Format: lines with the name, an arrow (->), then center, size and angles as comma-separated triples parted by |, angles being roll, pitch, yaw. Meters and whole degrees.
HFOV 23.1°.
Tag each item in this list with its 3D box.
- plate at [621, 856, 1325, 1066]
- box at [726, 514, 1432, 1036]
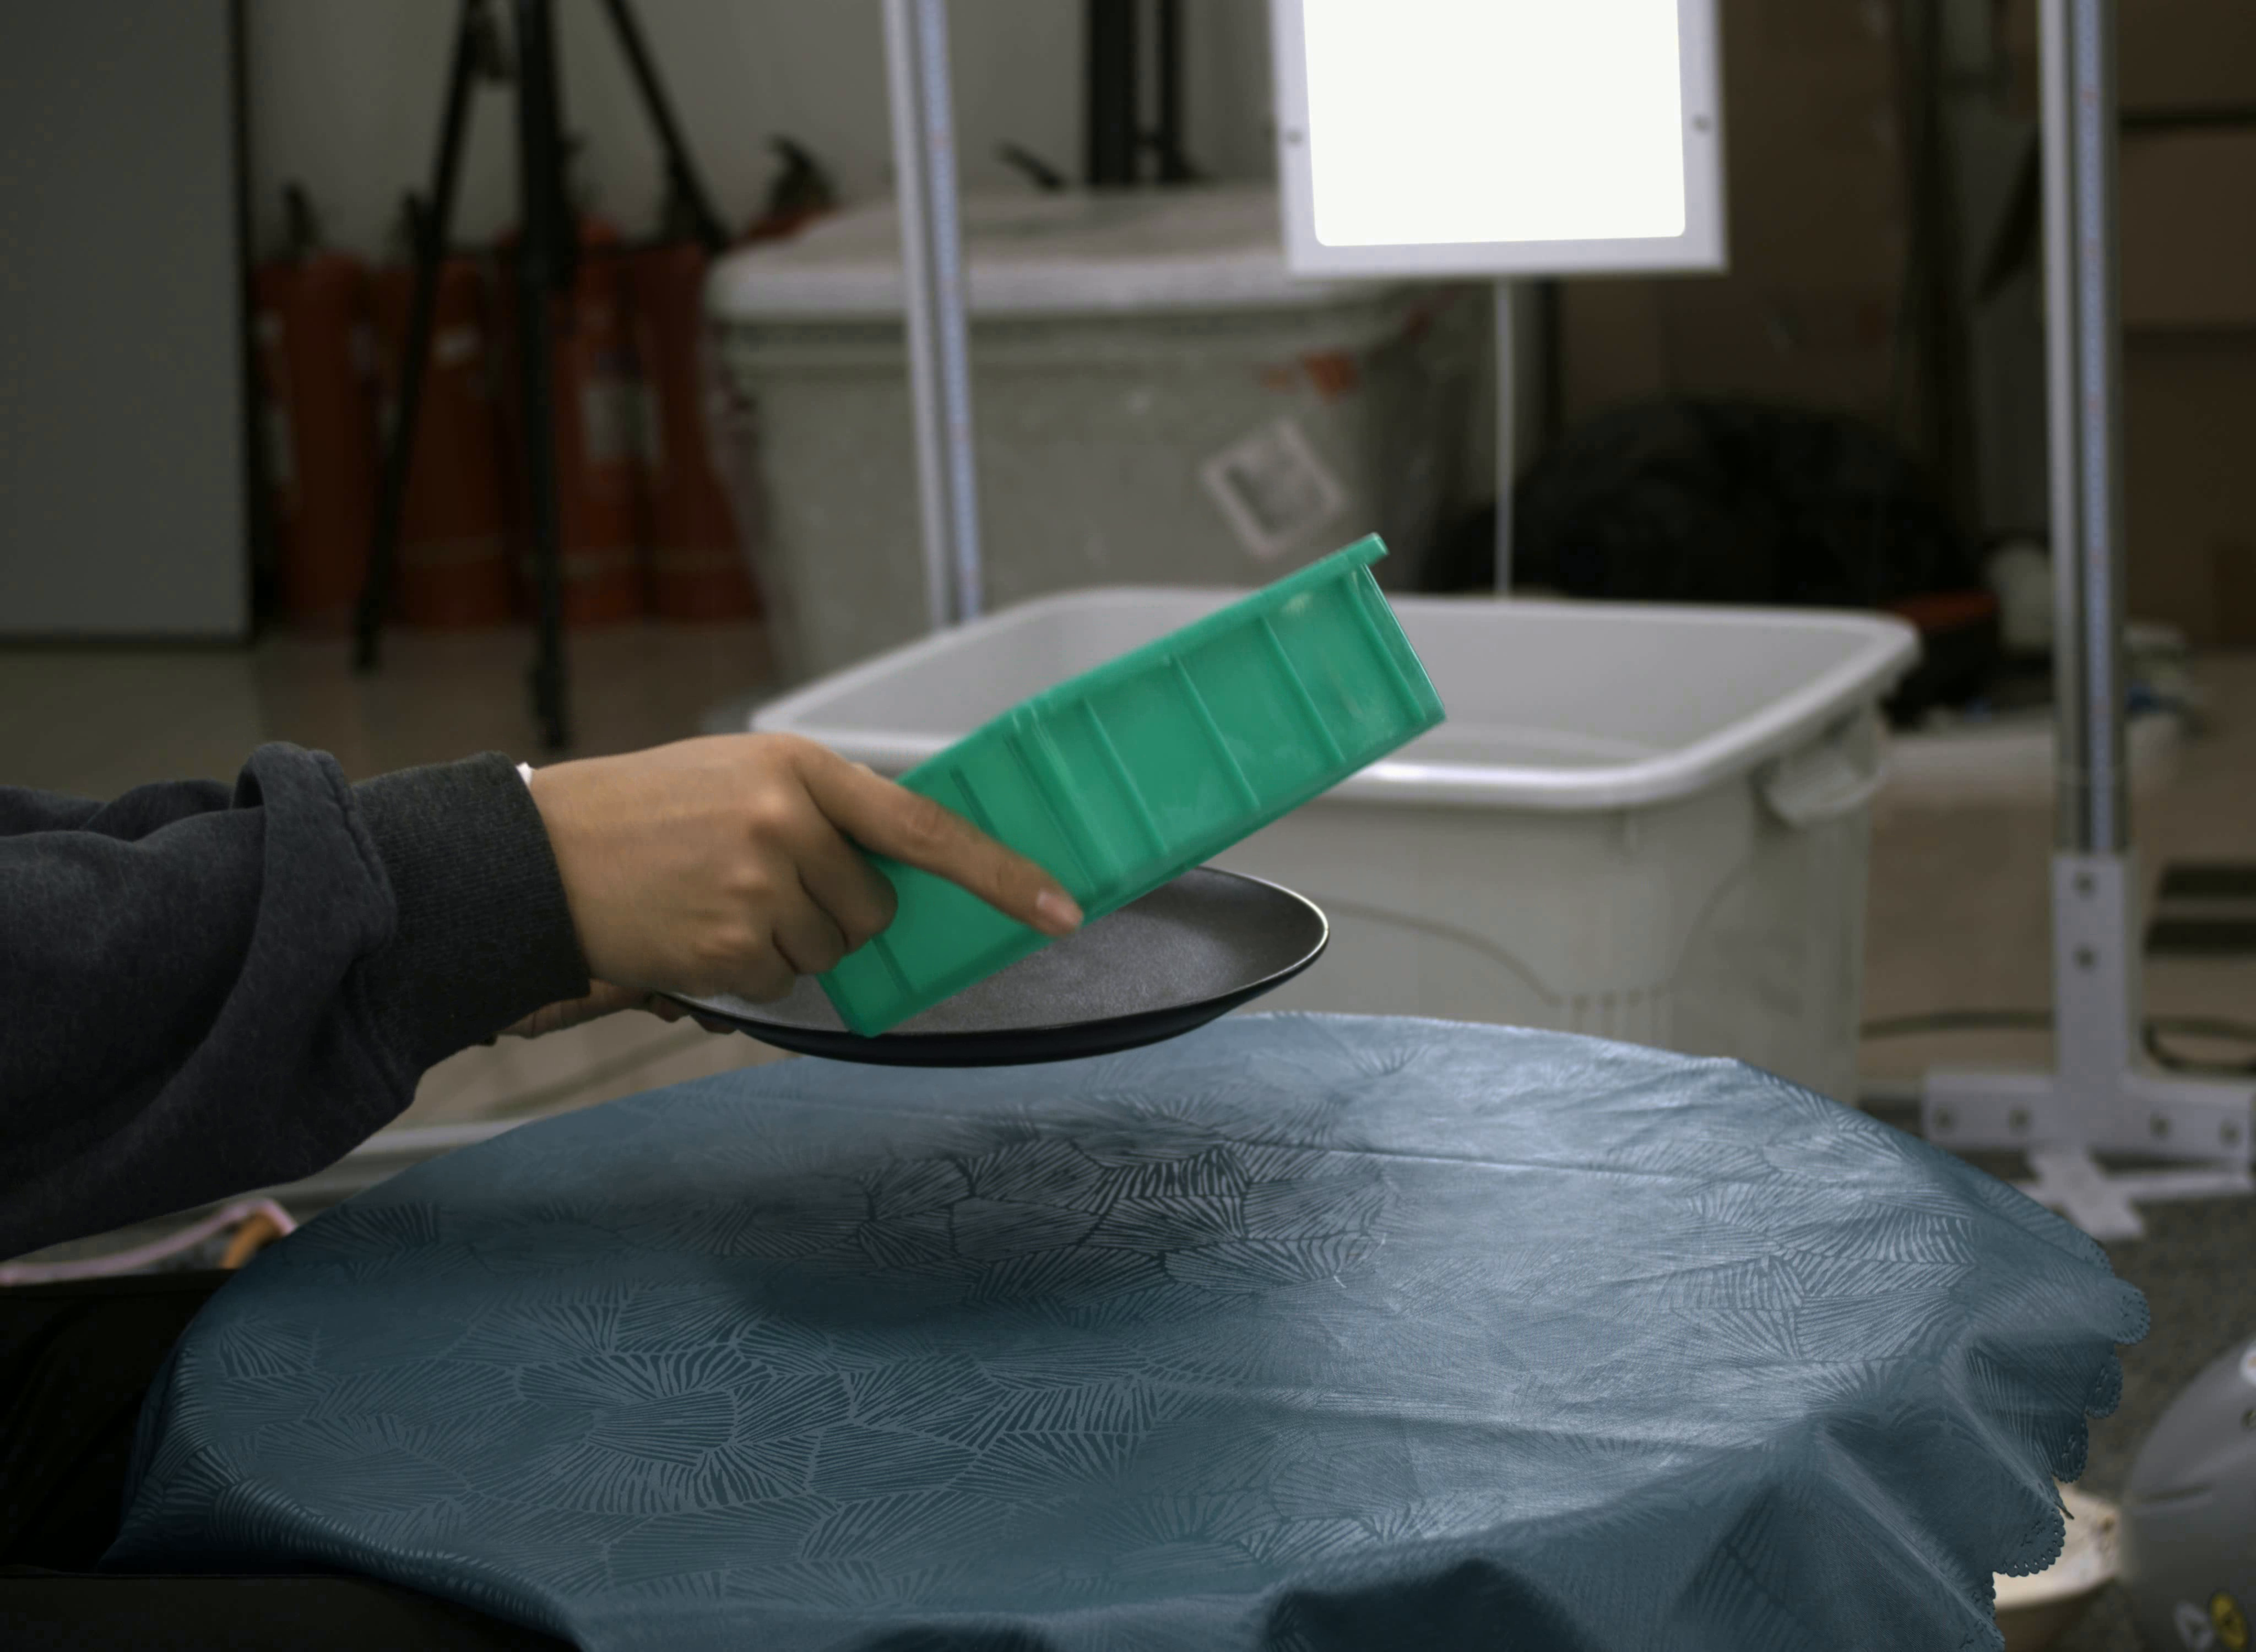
plate -> -0.053, 0.047, 1.896 | 0.243, 0.023, 0.244 | -2, 14, -1
box -> -0.008, -0.014, 1.635 | 0.141, 0.065, 0.205 | -34, -3, 38
